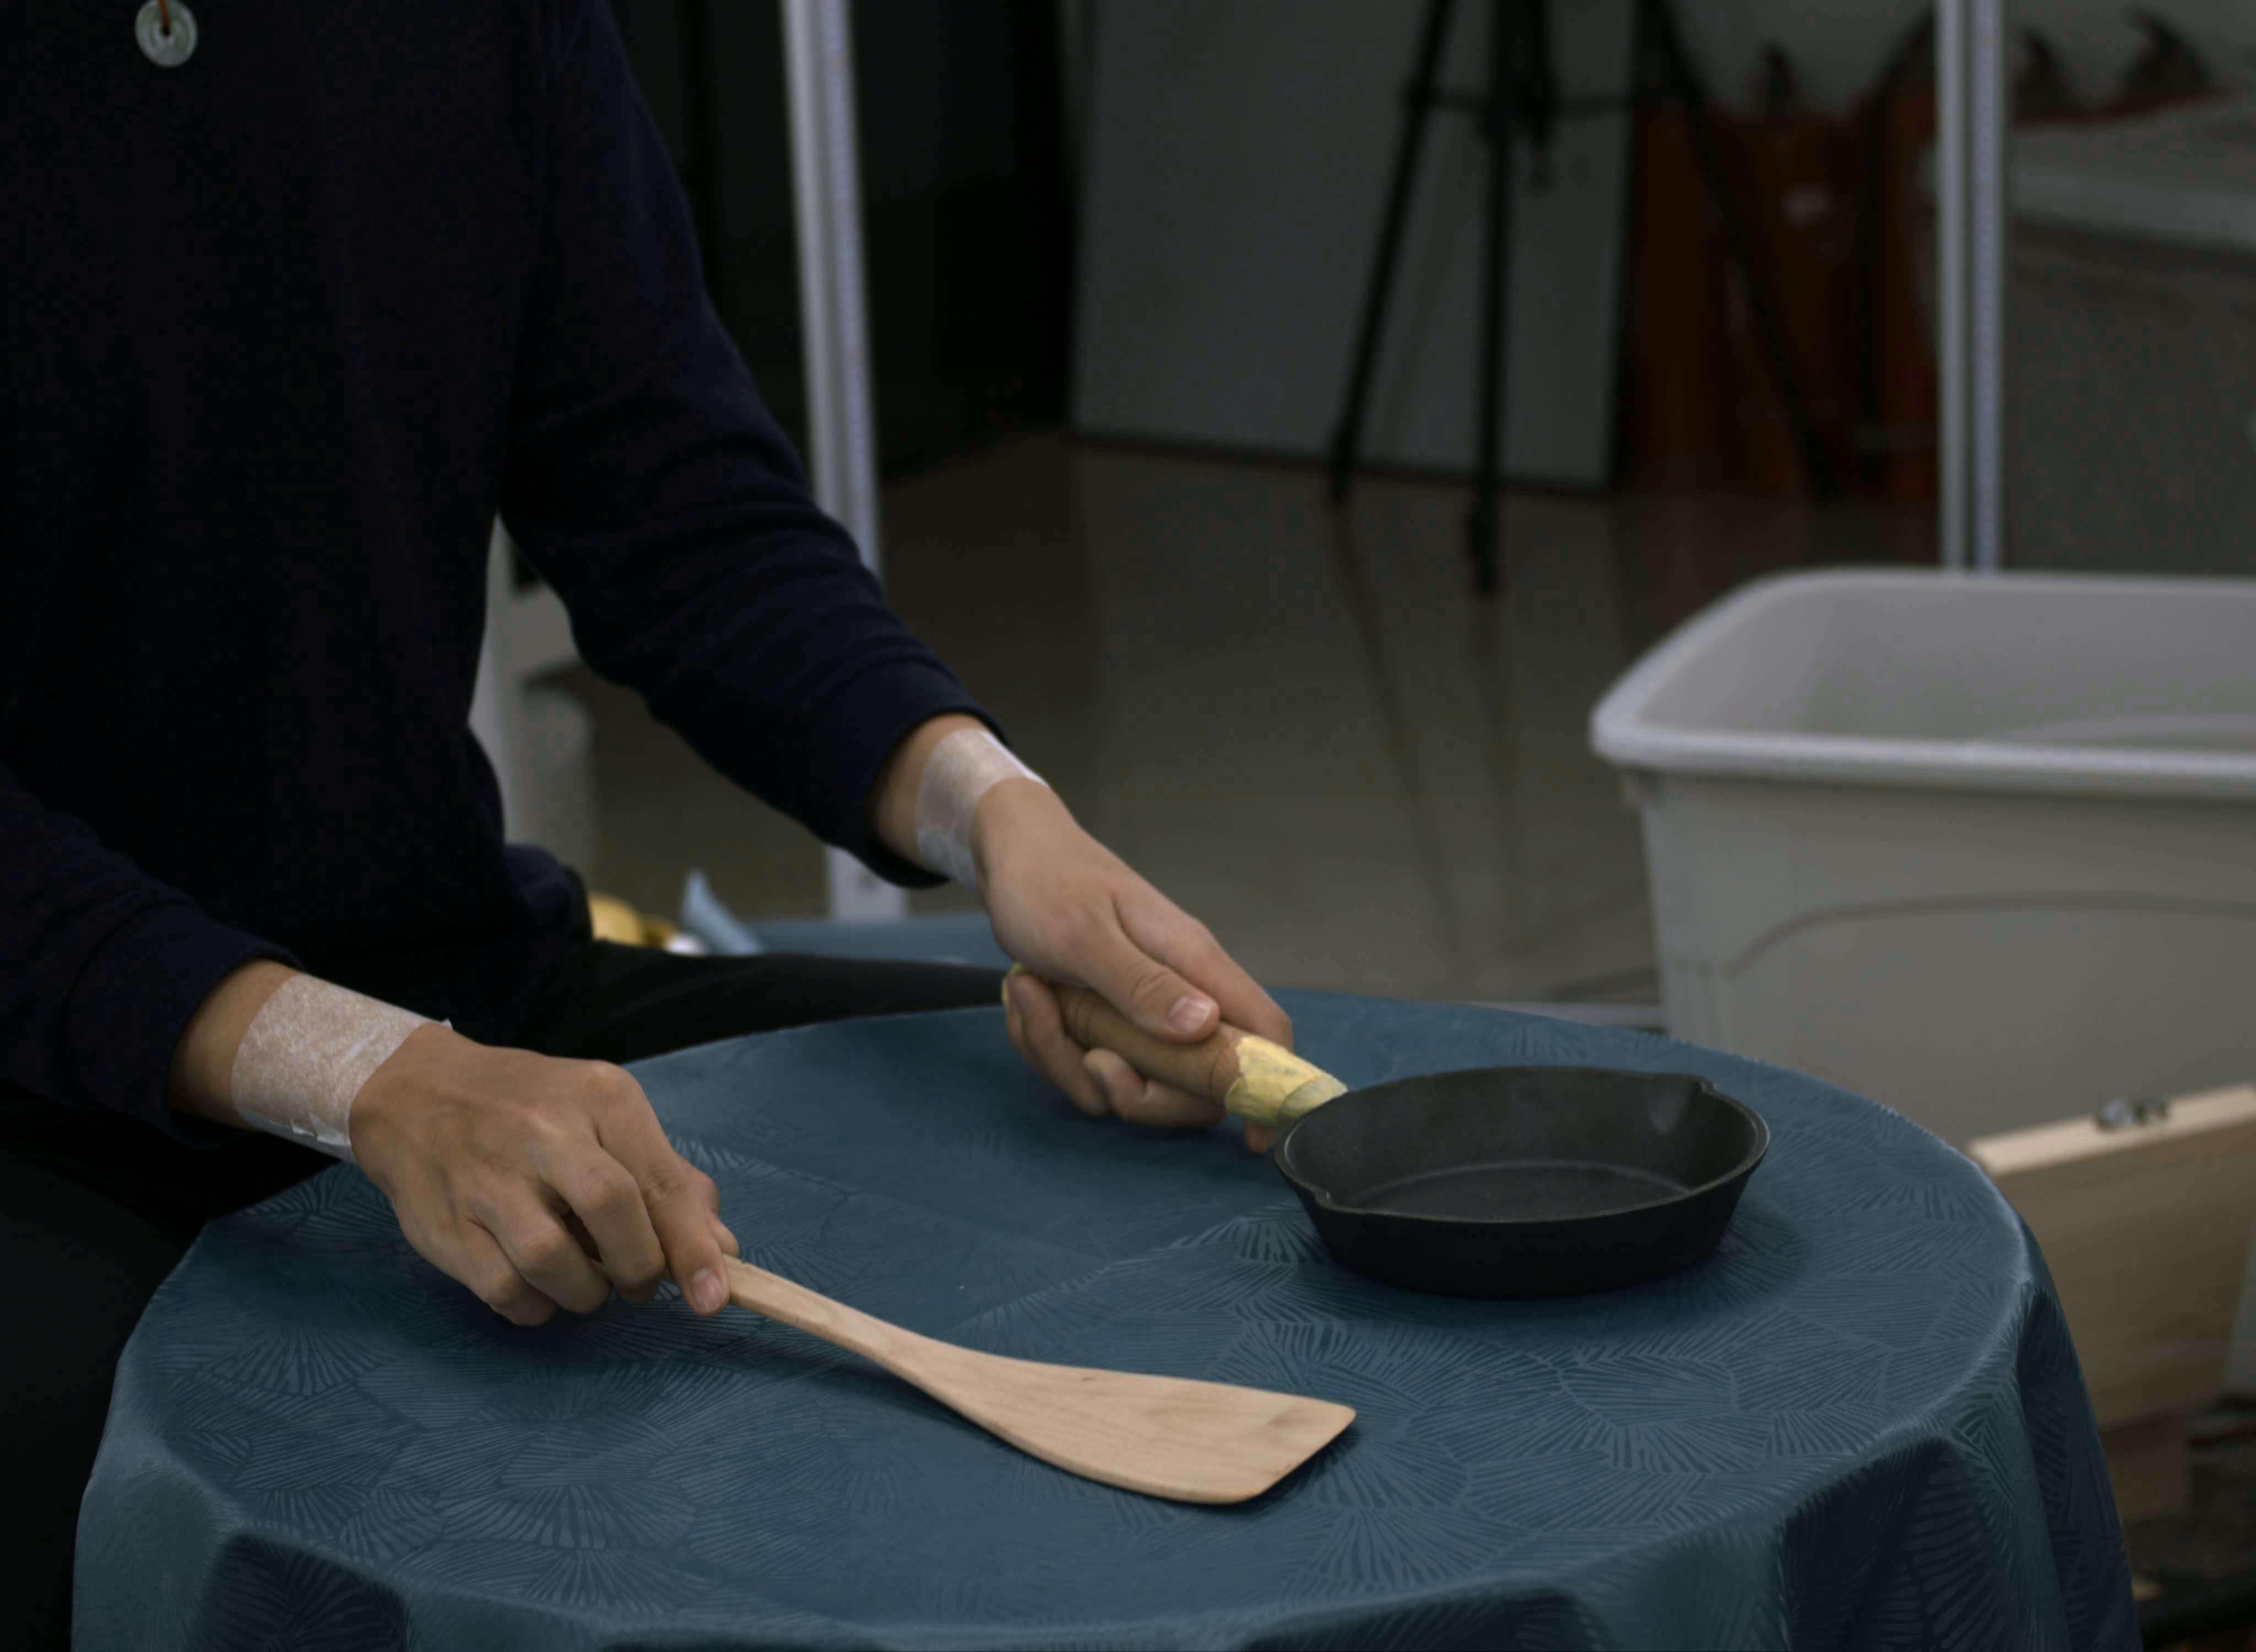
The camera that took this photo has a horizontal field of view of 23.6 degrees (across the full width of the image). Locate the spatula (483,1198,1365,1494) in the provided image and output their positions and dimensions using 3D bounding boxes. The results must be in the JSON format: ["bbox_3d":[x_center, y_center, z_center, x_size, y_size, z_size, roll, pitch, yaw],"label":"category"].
[{"bbox_3d":[-0.070,0.149,1.607,0.330,0.017,0.078,14,21,37],"label":"spatula"}]

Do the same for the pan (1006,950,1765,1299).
[{"bbox_3d":[0.069,0.093,1.759,0.165,0.050,0.327,-15,19,-37],"label":"pan"}]
